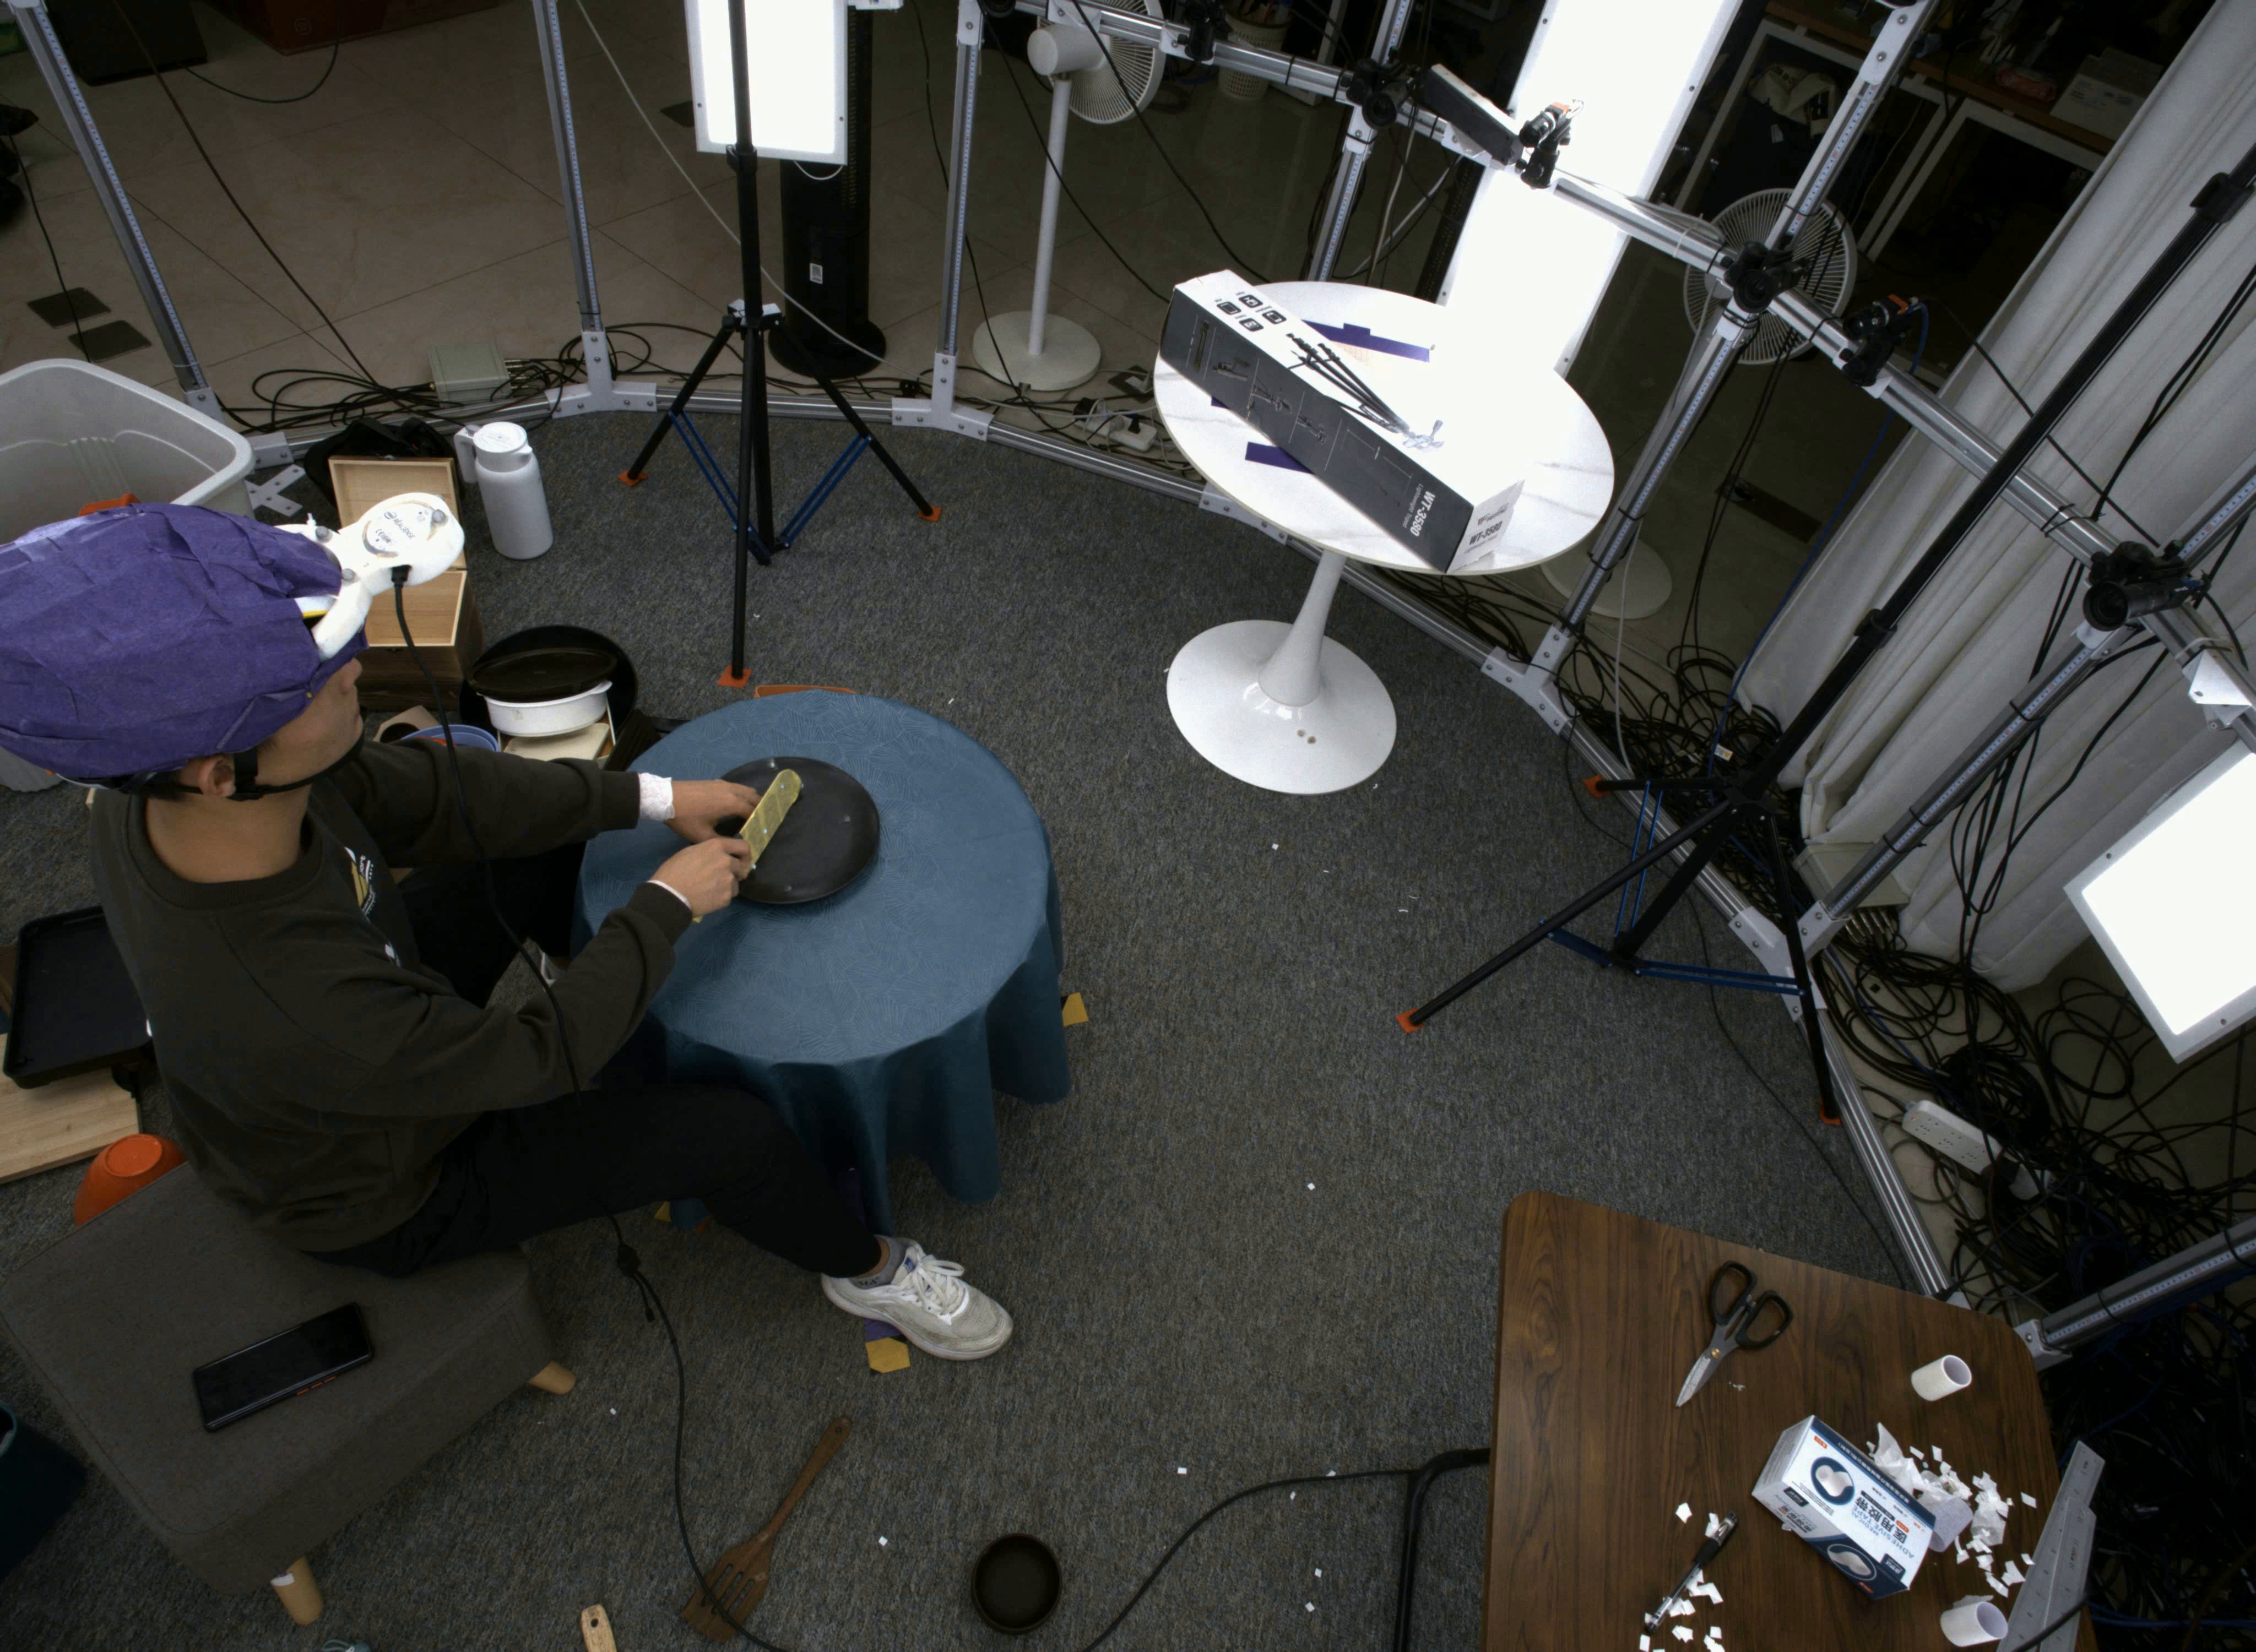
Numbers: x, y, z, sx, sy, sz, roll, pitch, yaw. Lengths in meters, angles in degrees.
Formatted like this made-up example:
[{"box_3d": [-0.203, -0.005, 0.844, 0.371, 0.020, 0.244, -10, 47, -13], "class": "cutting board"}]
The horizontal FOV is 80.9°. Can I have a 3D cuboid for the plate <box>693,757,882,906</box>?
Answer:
[{"box_3d": [-0.448, 0.007, 1.709, 0.244, 0.024, 0.240, 8, 53, -9], "class": "plate"}]

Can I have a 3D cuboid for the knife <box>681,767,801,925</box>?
[{"box_3d": [-0.482, 0.024, 1.637, 0.026, 0.083, 0.286, 13, 45, 13], "class": "knife"}]
